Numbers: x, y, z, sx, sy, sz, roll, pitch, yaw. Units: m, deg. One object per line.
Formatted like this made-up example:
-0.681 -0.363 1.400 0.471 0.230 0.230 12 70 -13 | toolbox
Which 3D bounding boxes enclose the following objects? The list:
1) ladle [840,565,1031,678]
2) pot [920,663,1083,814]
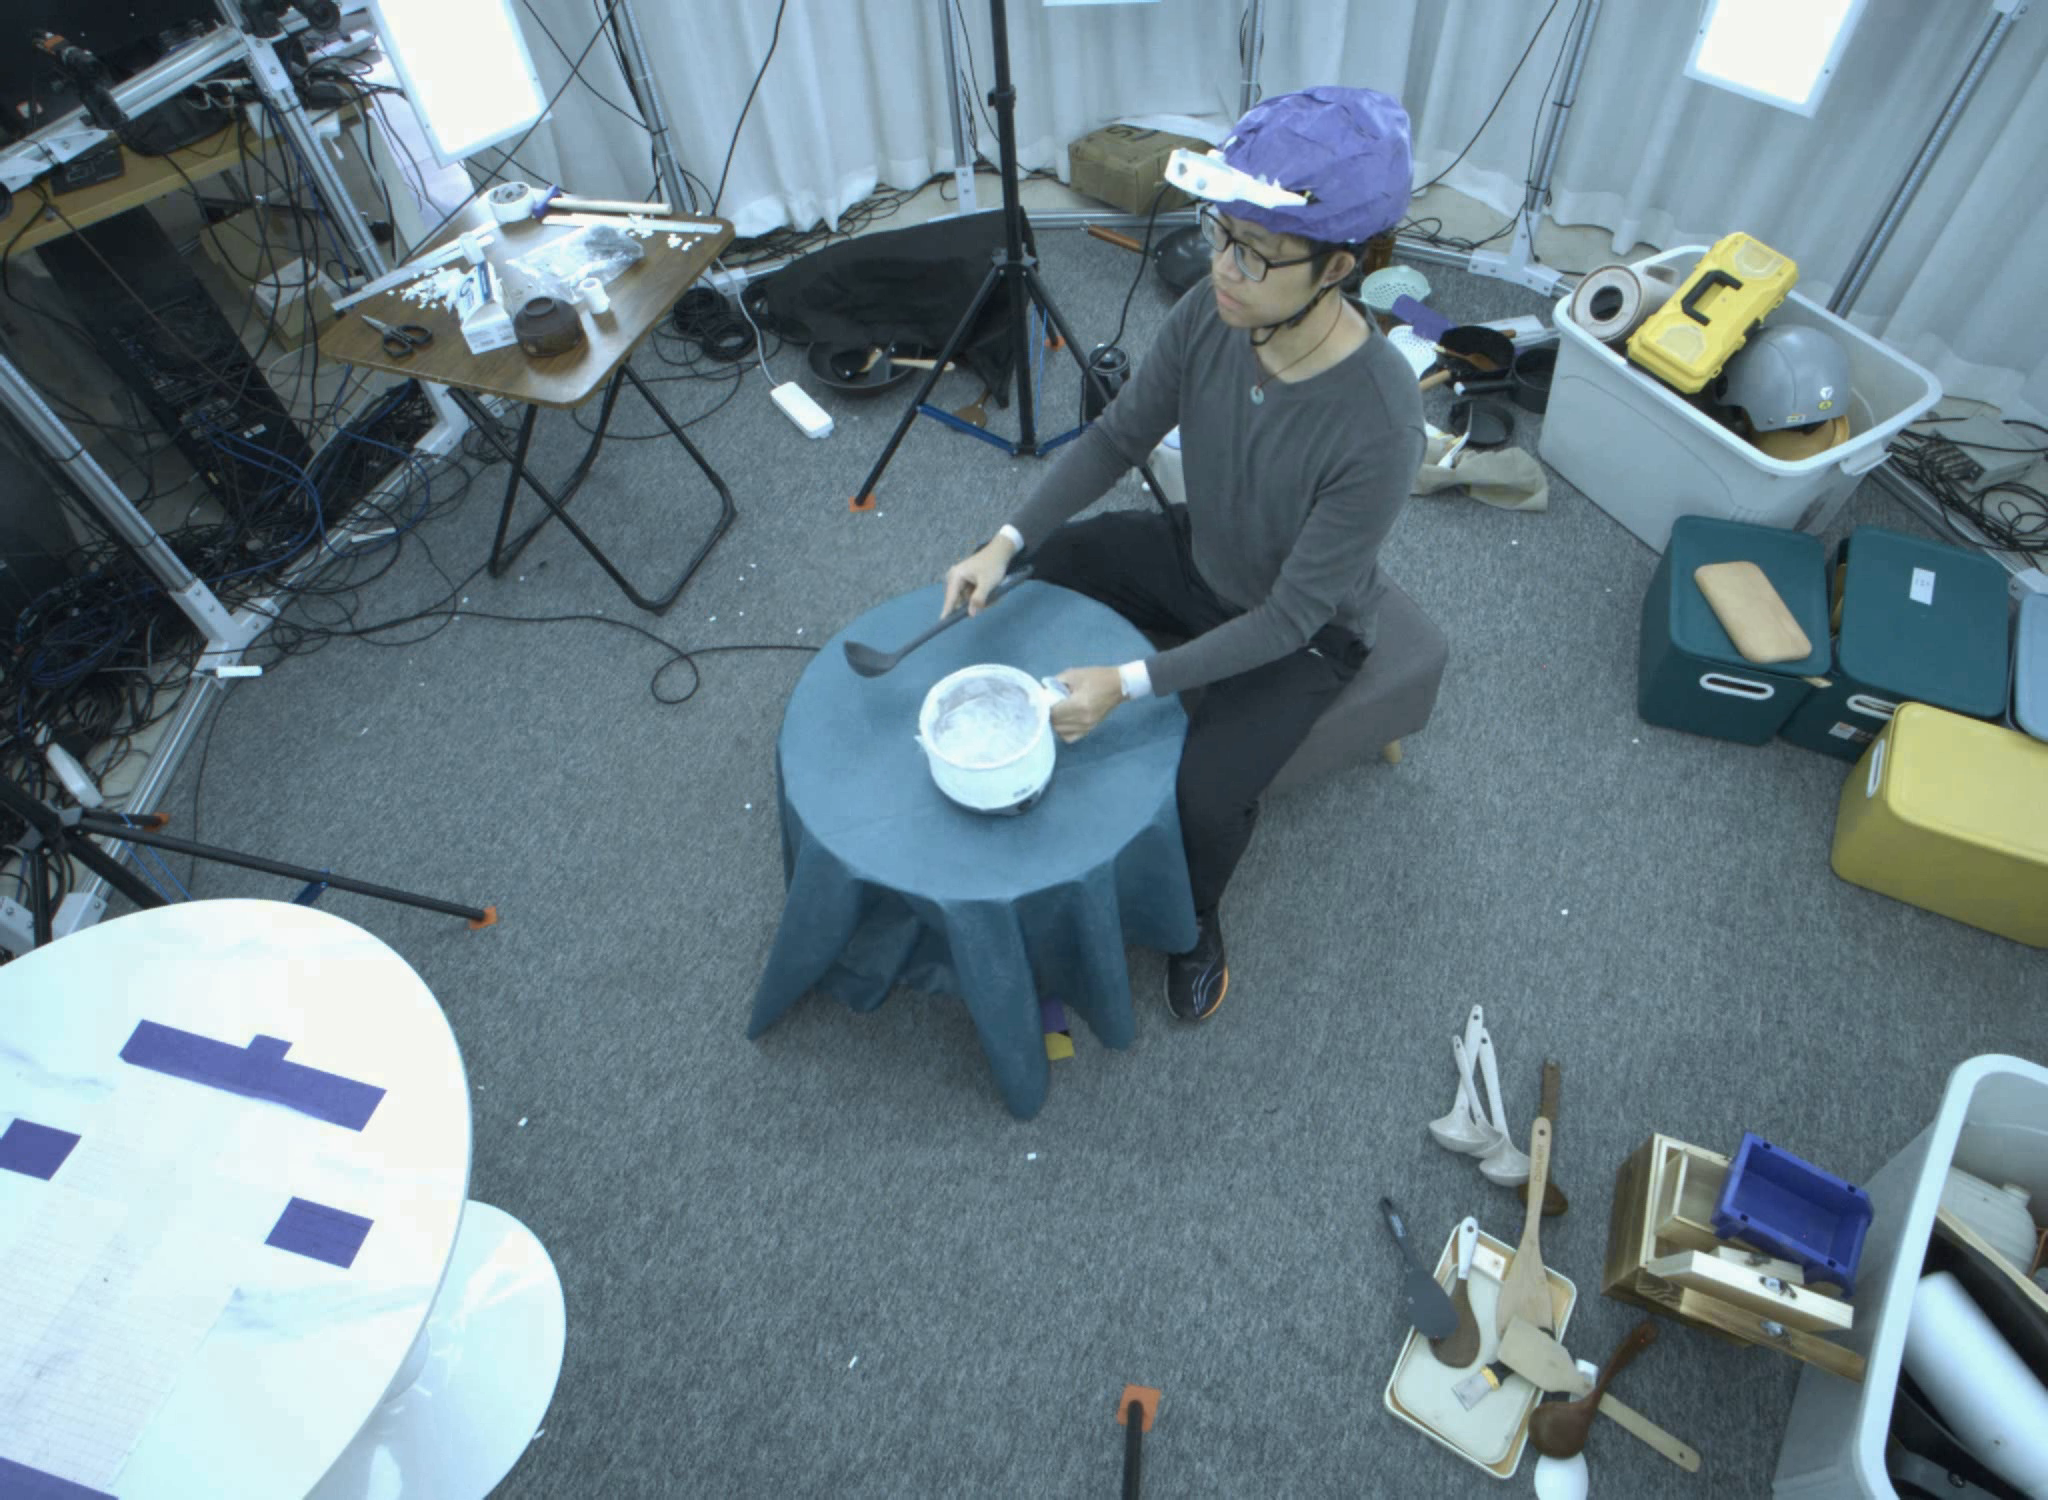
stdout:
-0.125 -0.204 1.800 0.315 0.065 0.084 -34 52 -11 | ladle
-0.024 -0.026 1.722 0.235 0.138 0.175 -30 59 -15 | pot
